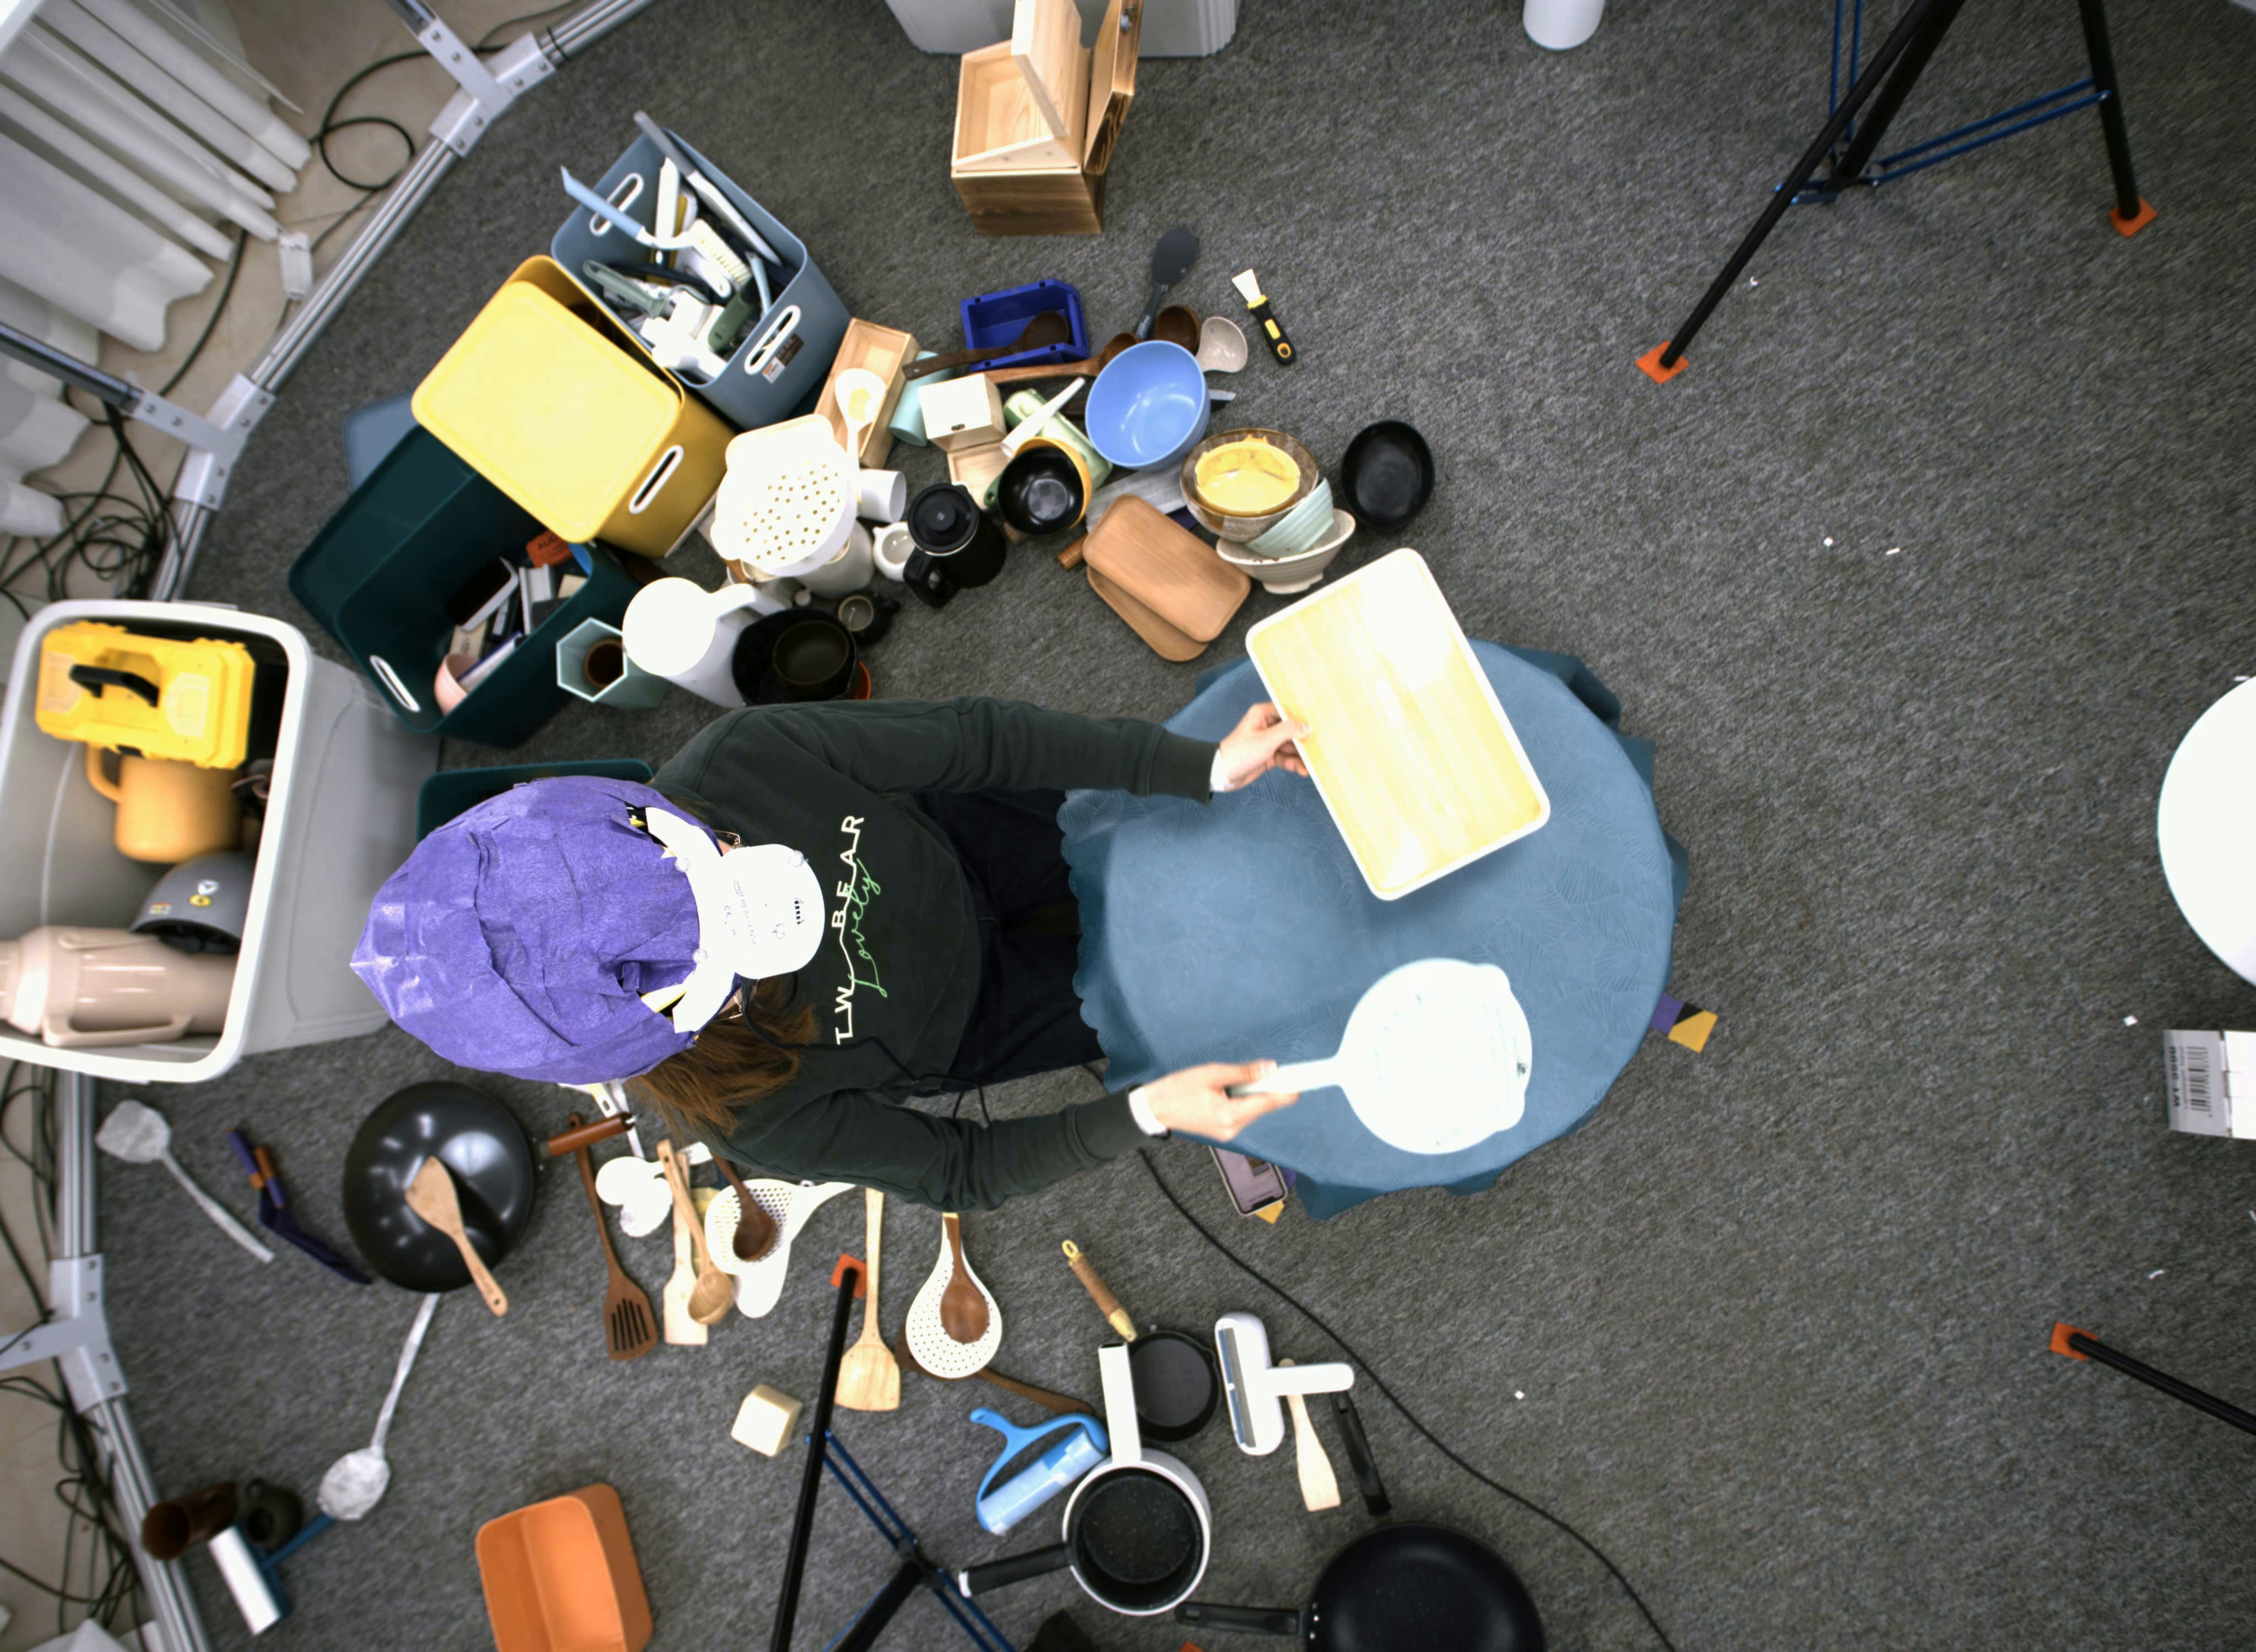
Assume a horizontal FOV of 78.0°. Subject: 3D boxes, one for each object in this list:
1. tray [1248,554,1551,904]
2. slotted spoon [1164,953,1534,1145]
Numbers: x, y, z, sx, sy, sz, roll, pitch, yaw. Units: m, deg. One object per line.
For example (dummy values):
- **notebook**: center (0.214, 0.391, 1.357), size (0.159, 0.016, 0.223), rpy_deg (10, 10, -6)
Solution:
- **tray**: center (0.263, -0.095, 1.342), size (0.193, 0.027, 0.300), rpy_deg (-27, 90, 10)
- **slotted spoon**: center (0.190, 0.218, 1.263), size (0.362, 0.076, 0.166), rpy_deg (-11, 67, 19)
